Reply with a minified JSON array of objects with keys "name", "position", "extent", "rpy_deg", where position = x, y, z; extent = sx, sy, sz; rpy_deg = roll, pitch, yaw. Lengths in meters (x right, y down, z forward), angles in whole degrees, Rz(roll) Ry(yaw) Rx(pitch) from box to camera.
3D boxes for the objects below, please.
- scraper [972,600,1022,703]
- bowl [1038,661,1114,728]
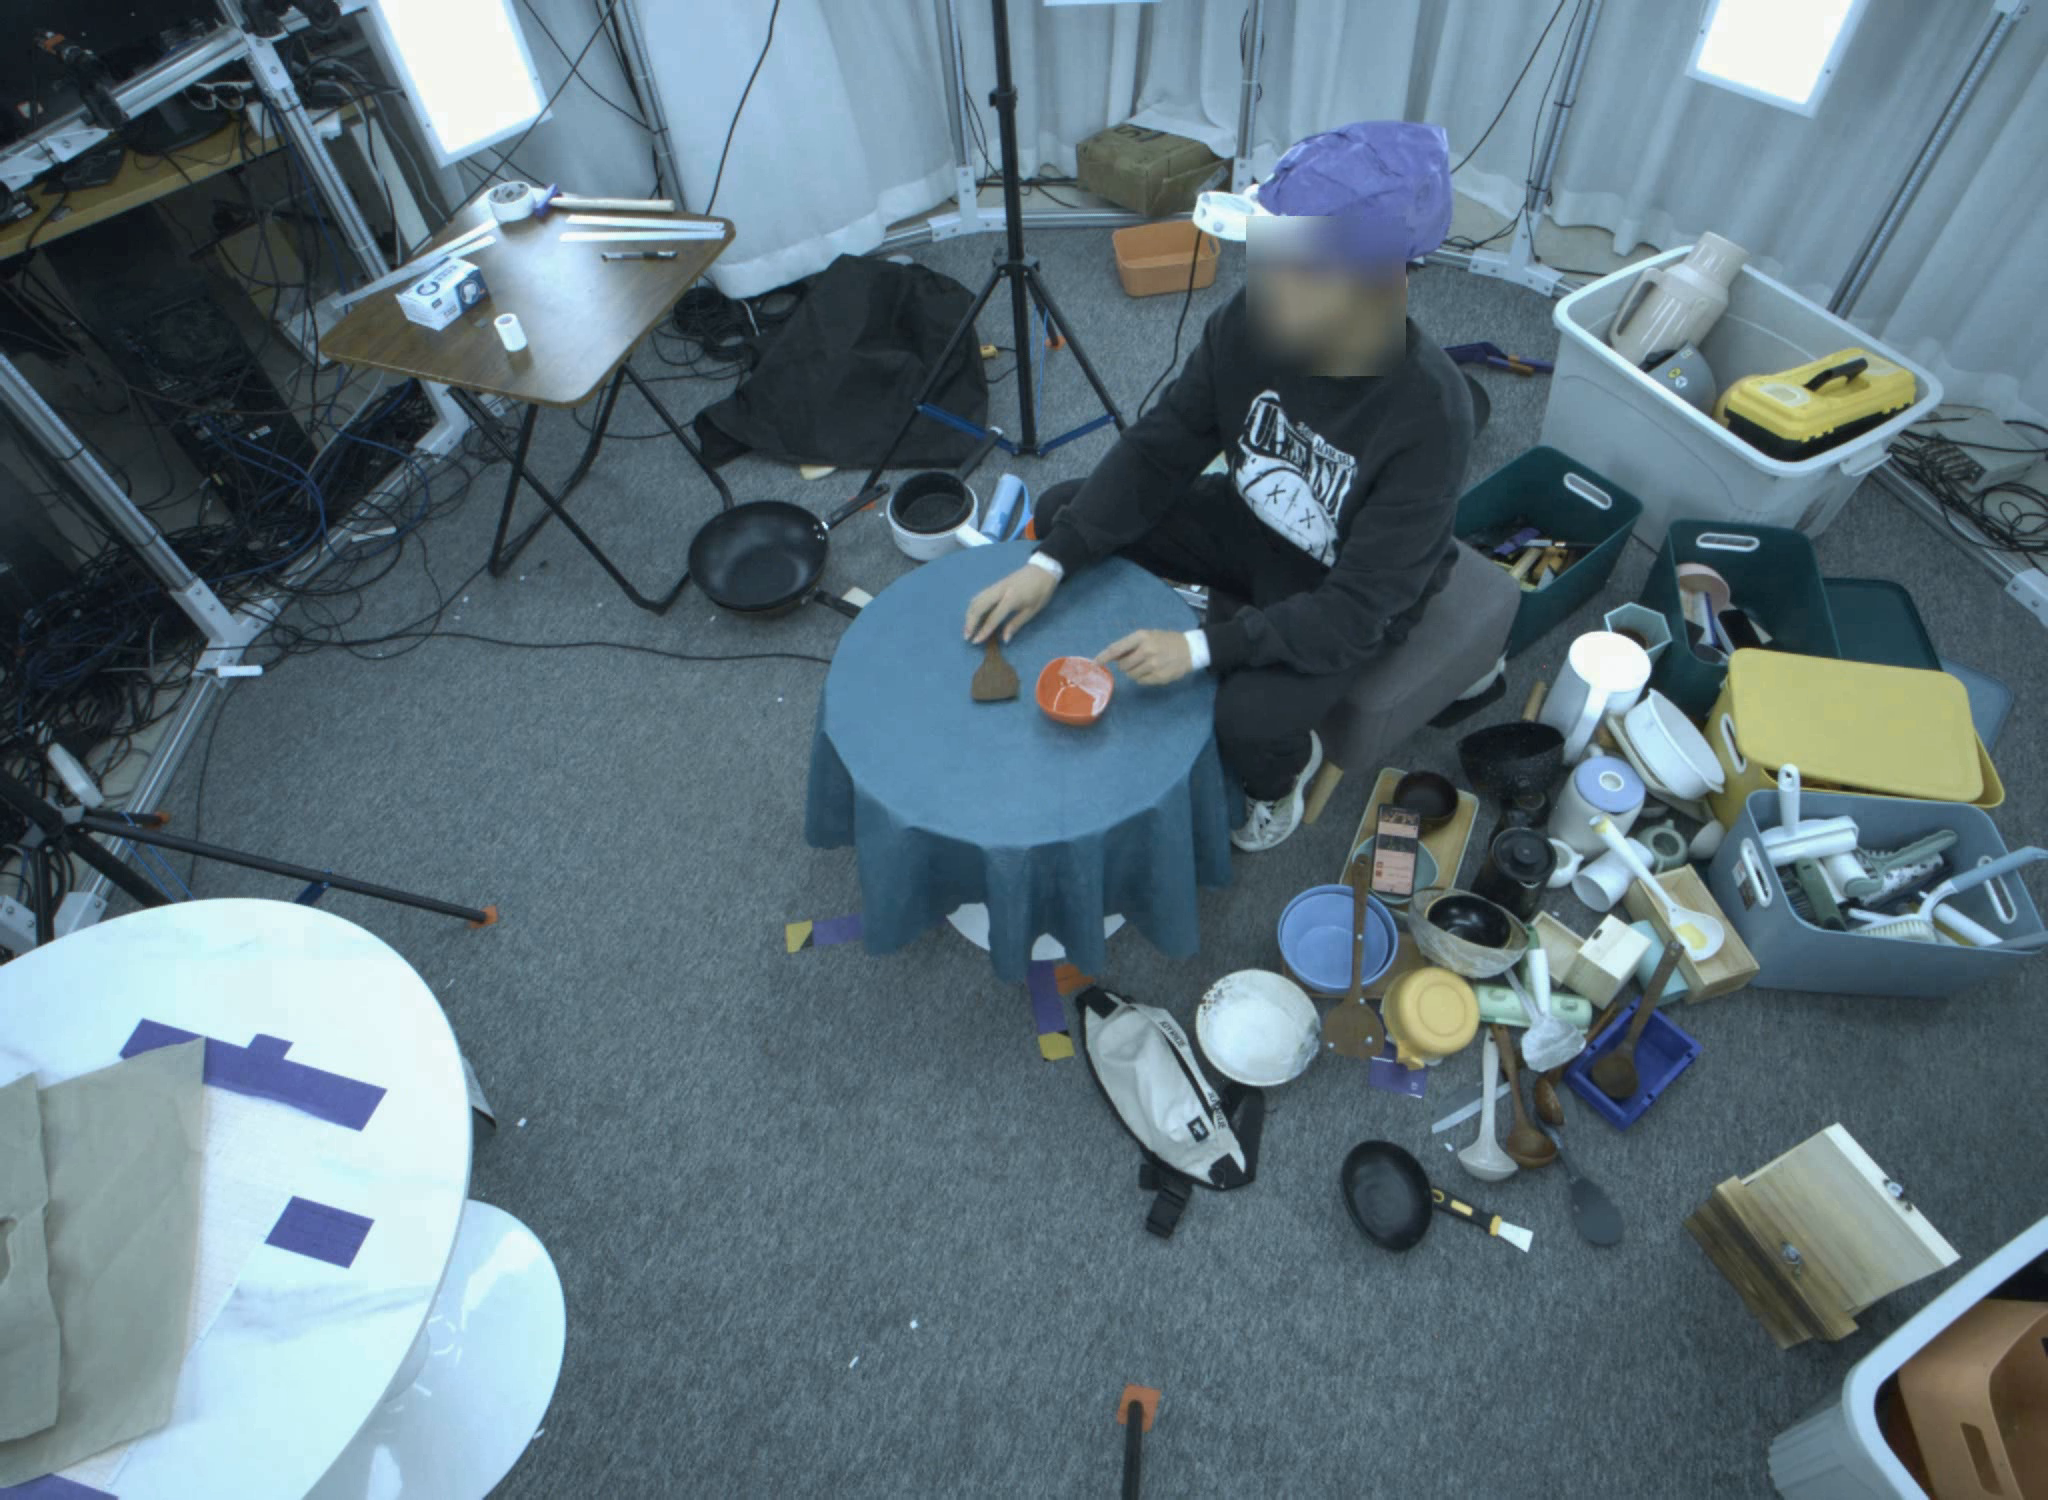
[{"name":"scraper","position":[-0.047,-0.154,1.903],"extent":[0.076,0.011,0.208],"rpy_deg":[-4,54,-2]},{"name":"bowl","position":[0.078,-0.074,1.818],"extent":[0.119,0.052,0.117],"rpy_deg":[-1,55,3]}]
